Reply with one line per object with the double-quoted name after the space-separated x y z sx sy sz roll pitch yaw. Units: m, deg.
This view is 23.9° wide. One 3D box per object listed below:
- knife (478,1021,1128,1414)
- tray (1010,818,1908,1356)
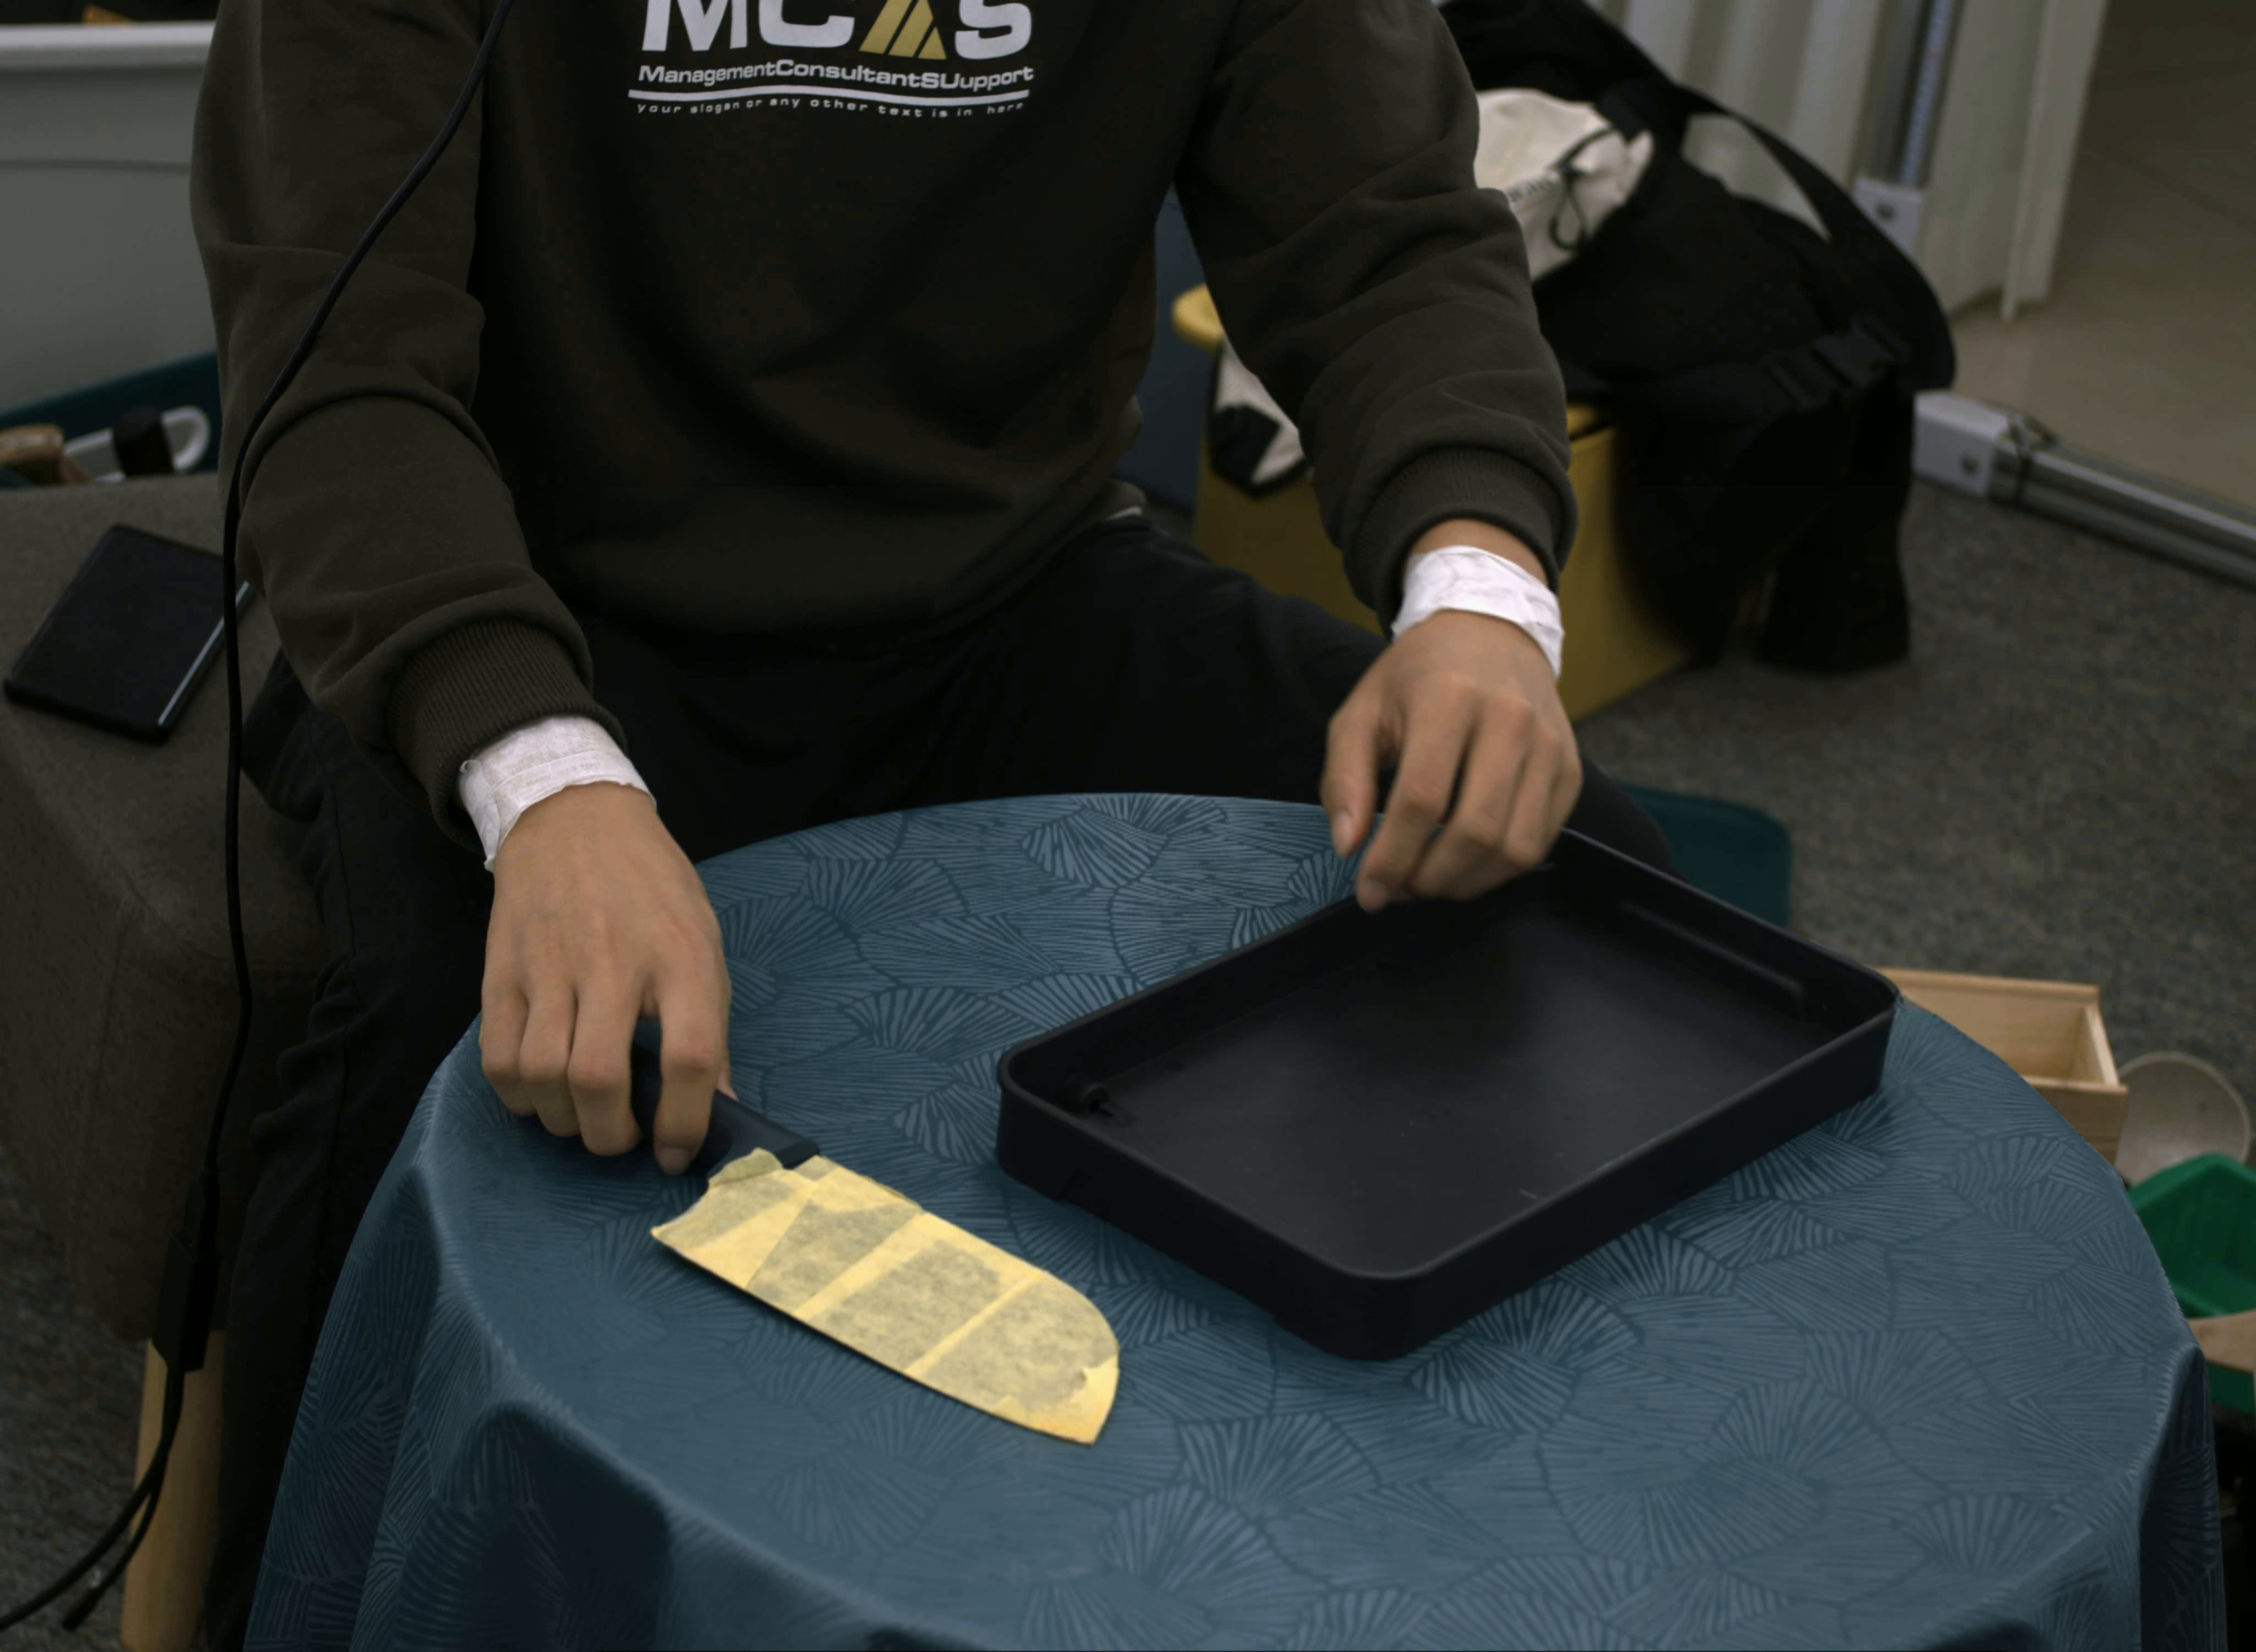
-0.115 0.130 1.751 0.291 0.027 0.081 25 35 32 "knife"
0.119 0.085 1.870 0.185 0.037 0.316 25 32 33 "tray"
